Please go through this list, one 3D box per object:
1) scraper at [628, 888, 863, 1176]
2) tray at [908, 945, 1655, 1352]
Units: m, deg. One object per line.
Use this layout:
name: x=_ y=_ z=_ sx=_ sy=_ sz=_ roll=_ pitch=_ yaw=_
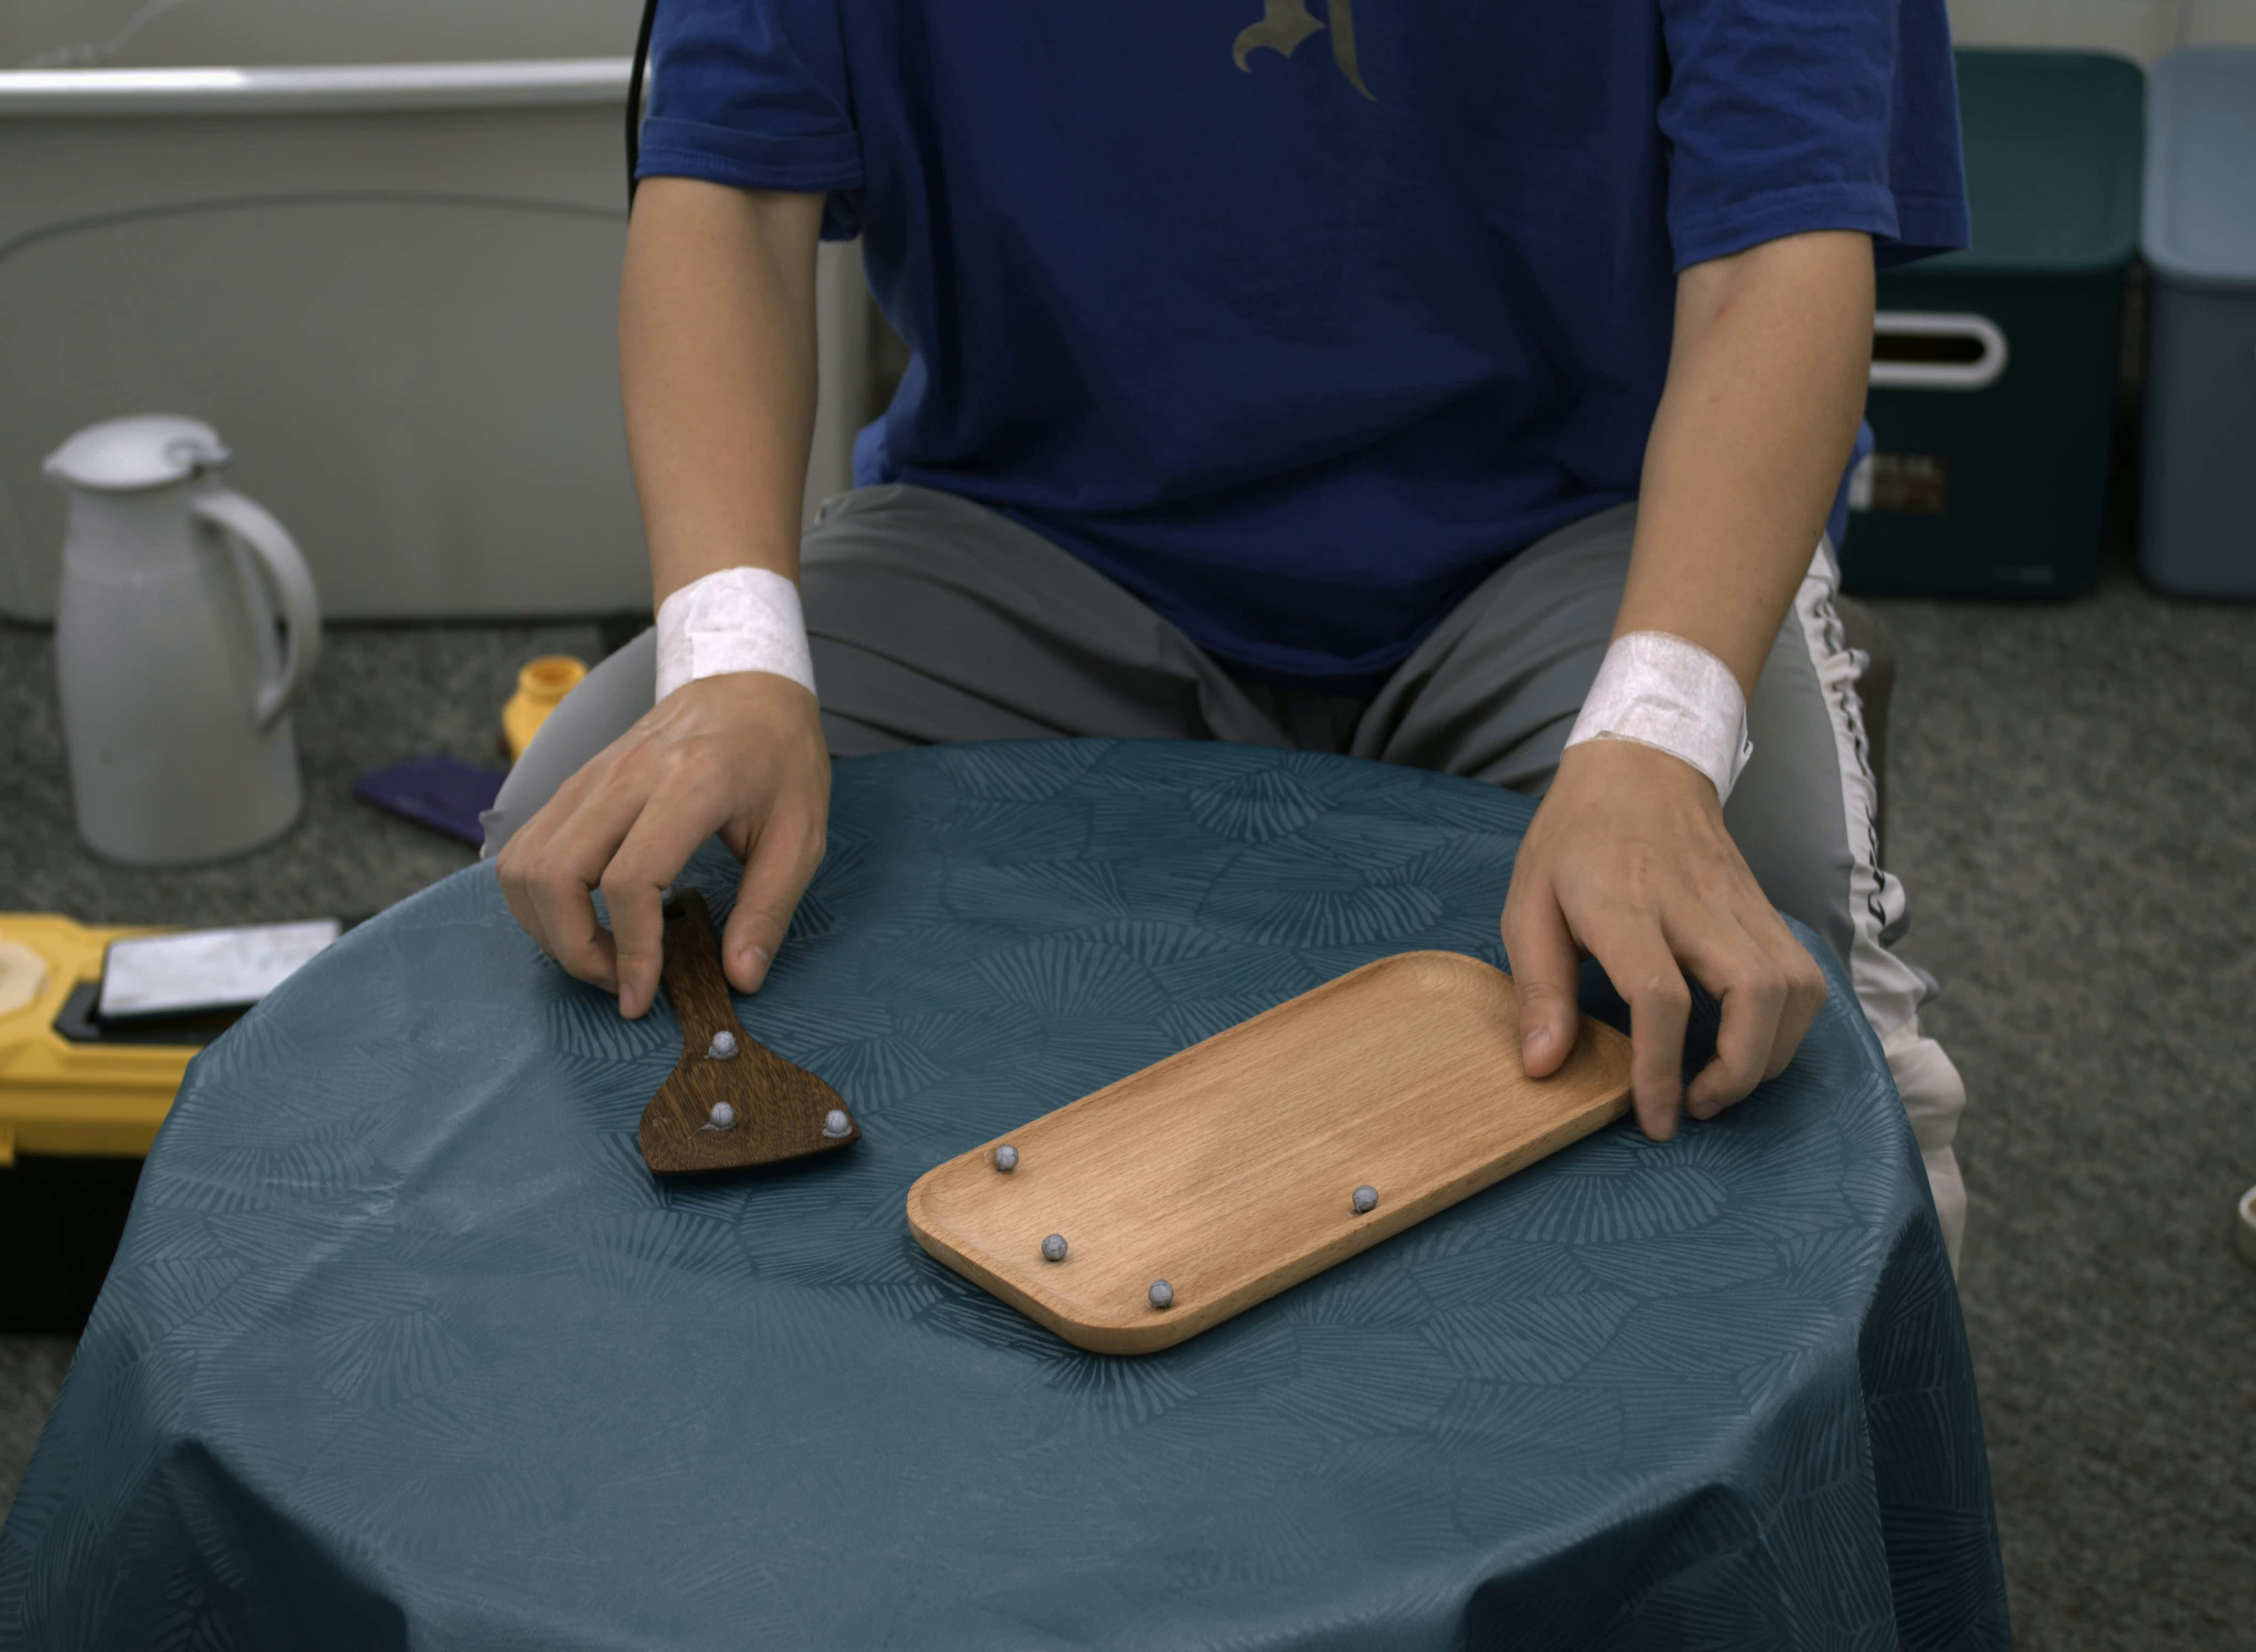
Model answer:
scraper: x=-0.146 y=0.071 z=1.965 sx=0.076 sy=0.011 sz=0.213 roll=-8 pitch=27 yaw=-11
tray: x=0.053 y=0.105 z=1.868 sx=0.253 sy=0.022 sz=0.131 roll=-22 pitch=35 yaw=-33
